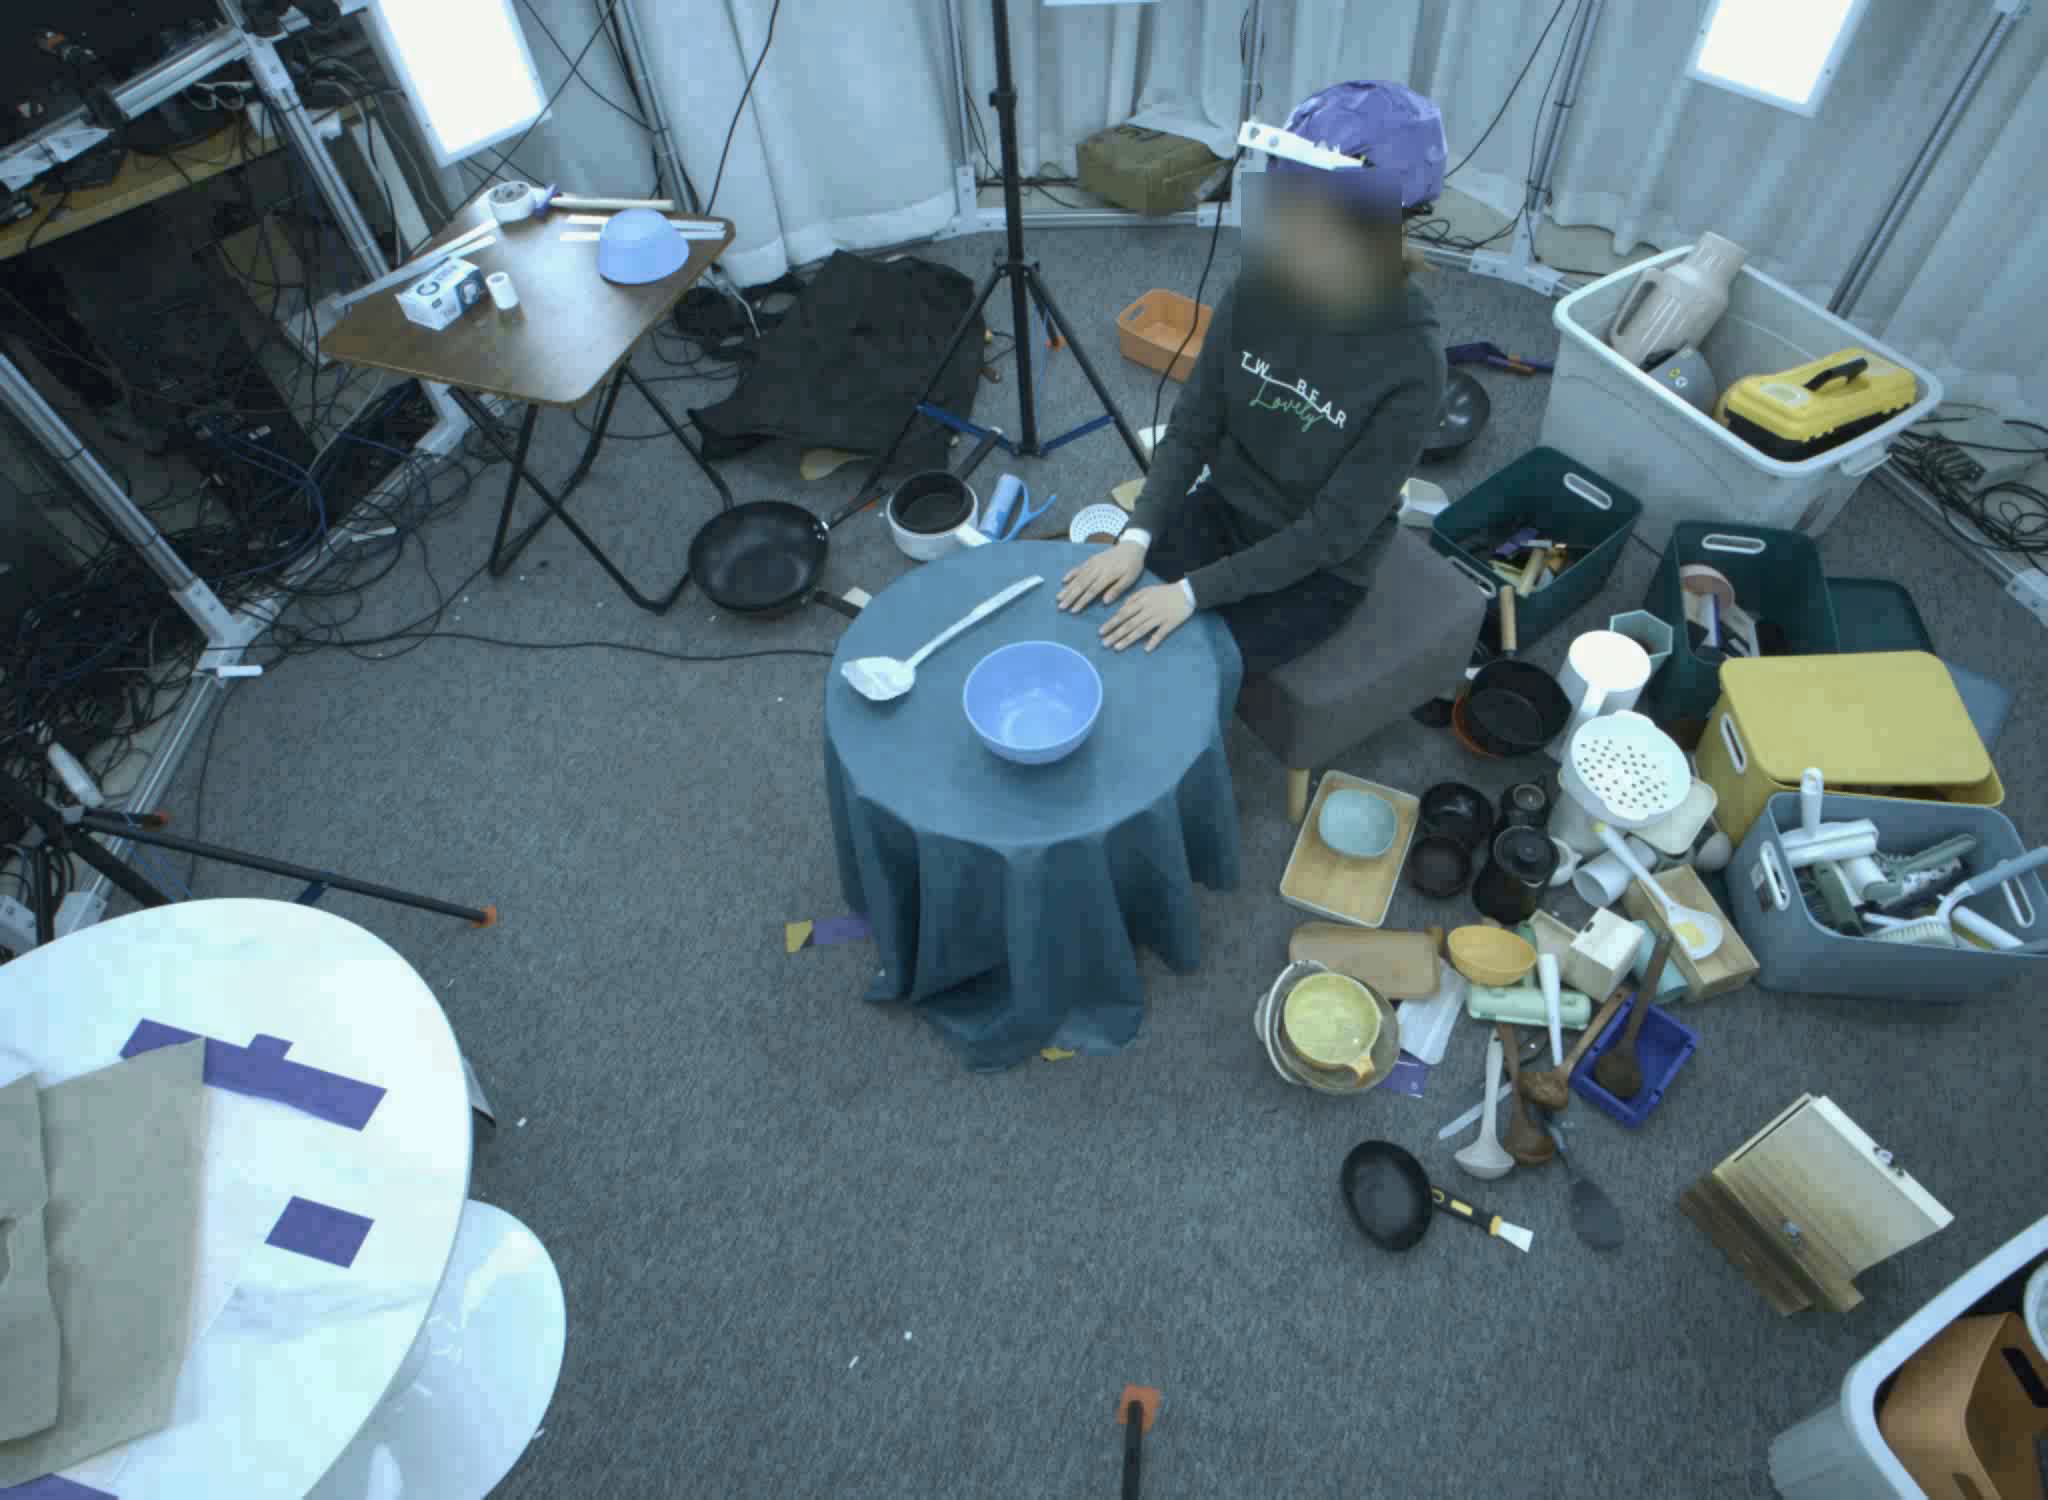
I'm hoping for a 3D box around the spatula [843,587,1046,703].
[{"bbox_3d":[-0.113,-0.177,1.902,0.367,0.045,0.097,-35,59,-21],"label":"spatula"}]

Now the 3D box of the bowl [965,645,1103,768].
[{"bbox_3d":[0.017,-0.048,1.772,0.196,0.096,0.194,-1,55,3],"label":"bowl"}]
